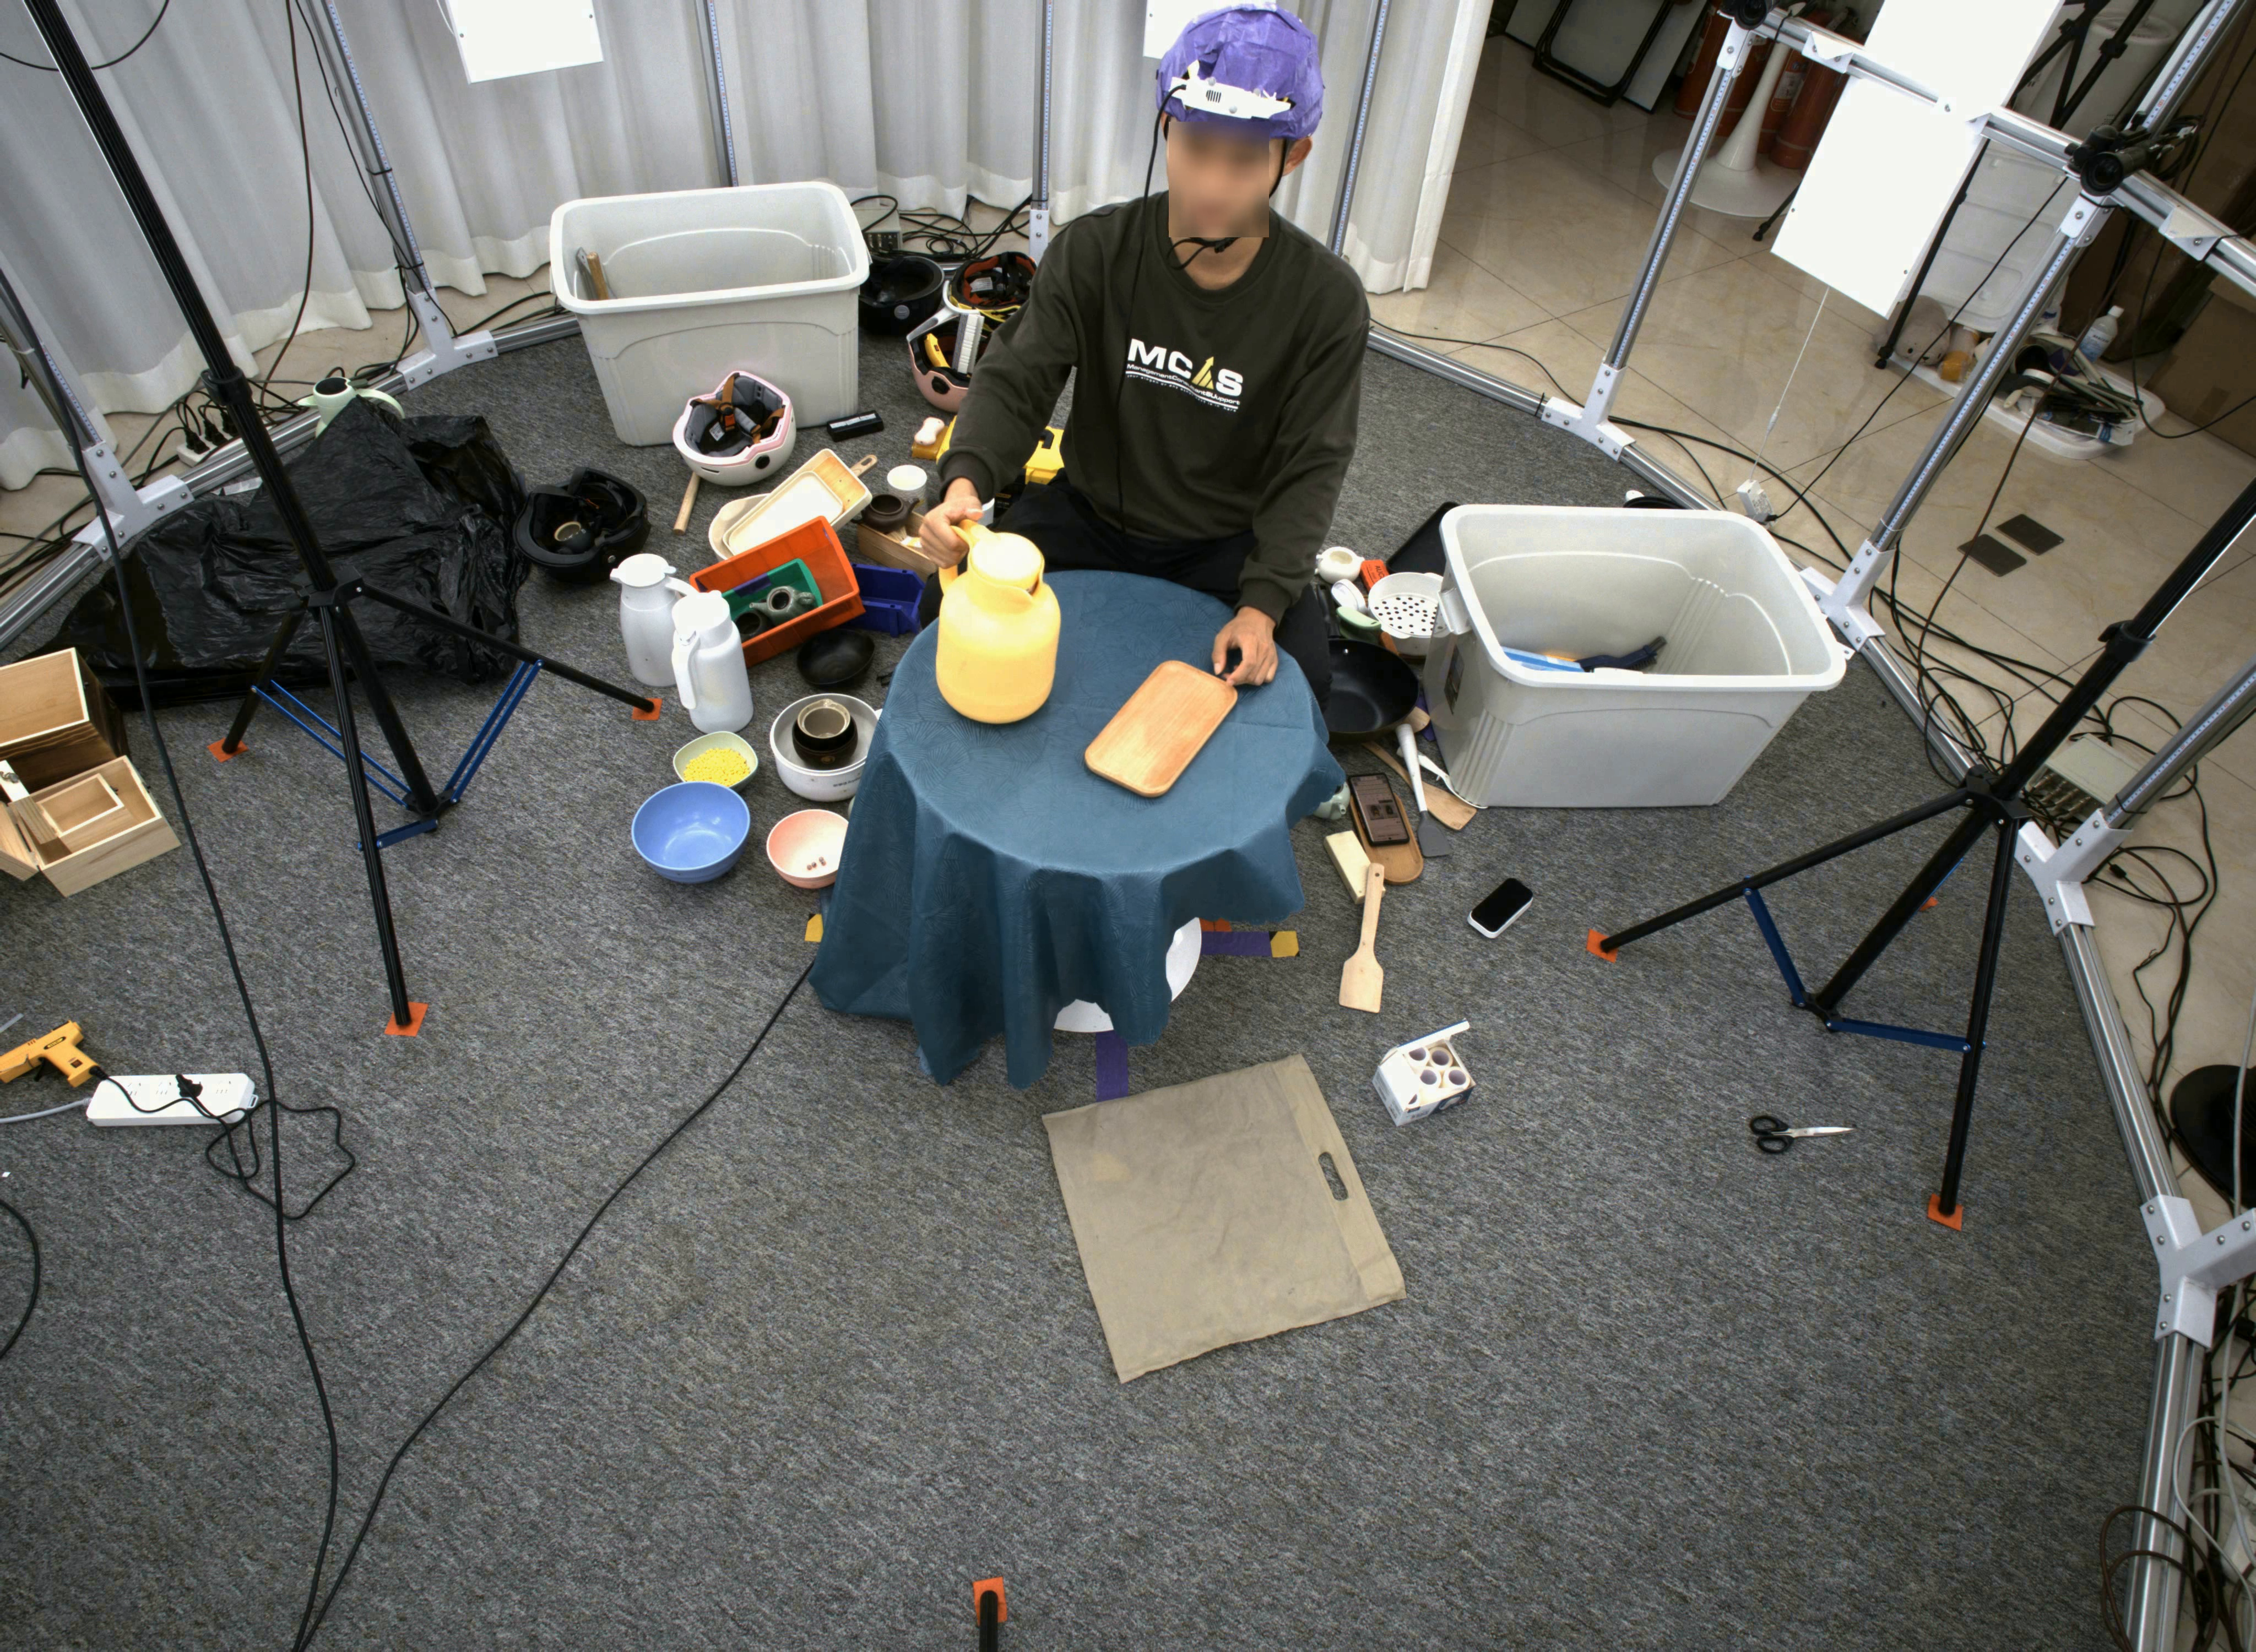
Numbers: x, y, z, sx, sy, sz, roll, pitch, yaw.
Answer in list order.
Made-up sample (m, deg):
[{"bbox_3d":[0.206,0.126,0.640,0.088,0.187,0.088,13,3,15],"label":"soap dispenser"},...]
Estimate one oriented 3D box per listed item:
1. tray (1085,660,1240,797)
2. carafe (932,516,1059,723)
[{"bbox_3d":[0.050,-0.138,1.777,0.131,0.022,0.254,28,52,16],"label":"tray"},{"bbox_3d":[-0.184,-0.283,1.721,0.164,0.254,0.206,-27,62,-30],"label":"carafe"}]
